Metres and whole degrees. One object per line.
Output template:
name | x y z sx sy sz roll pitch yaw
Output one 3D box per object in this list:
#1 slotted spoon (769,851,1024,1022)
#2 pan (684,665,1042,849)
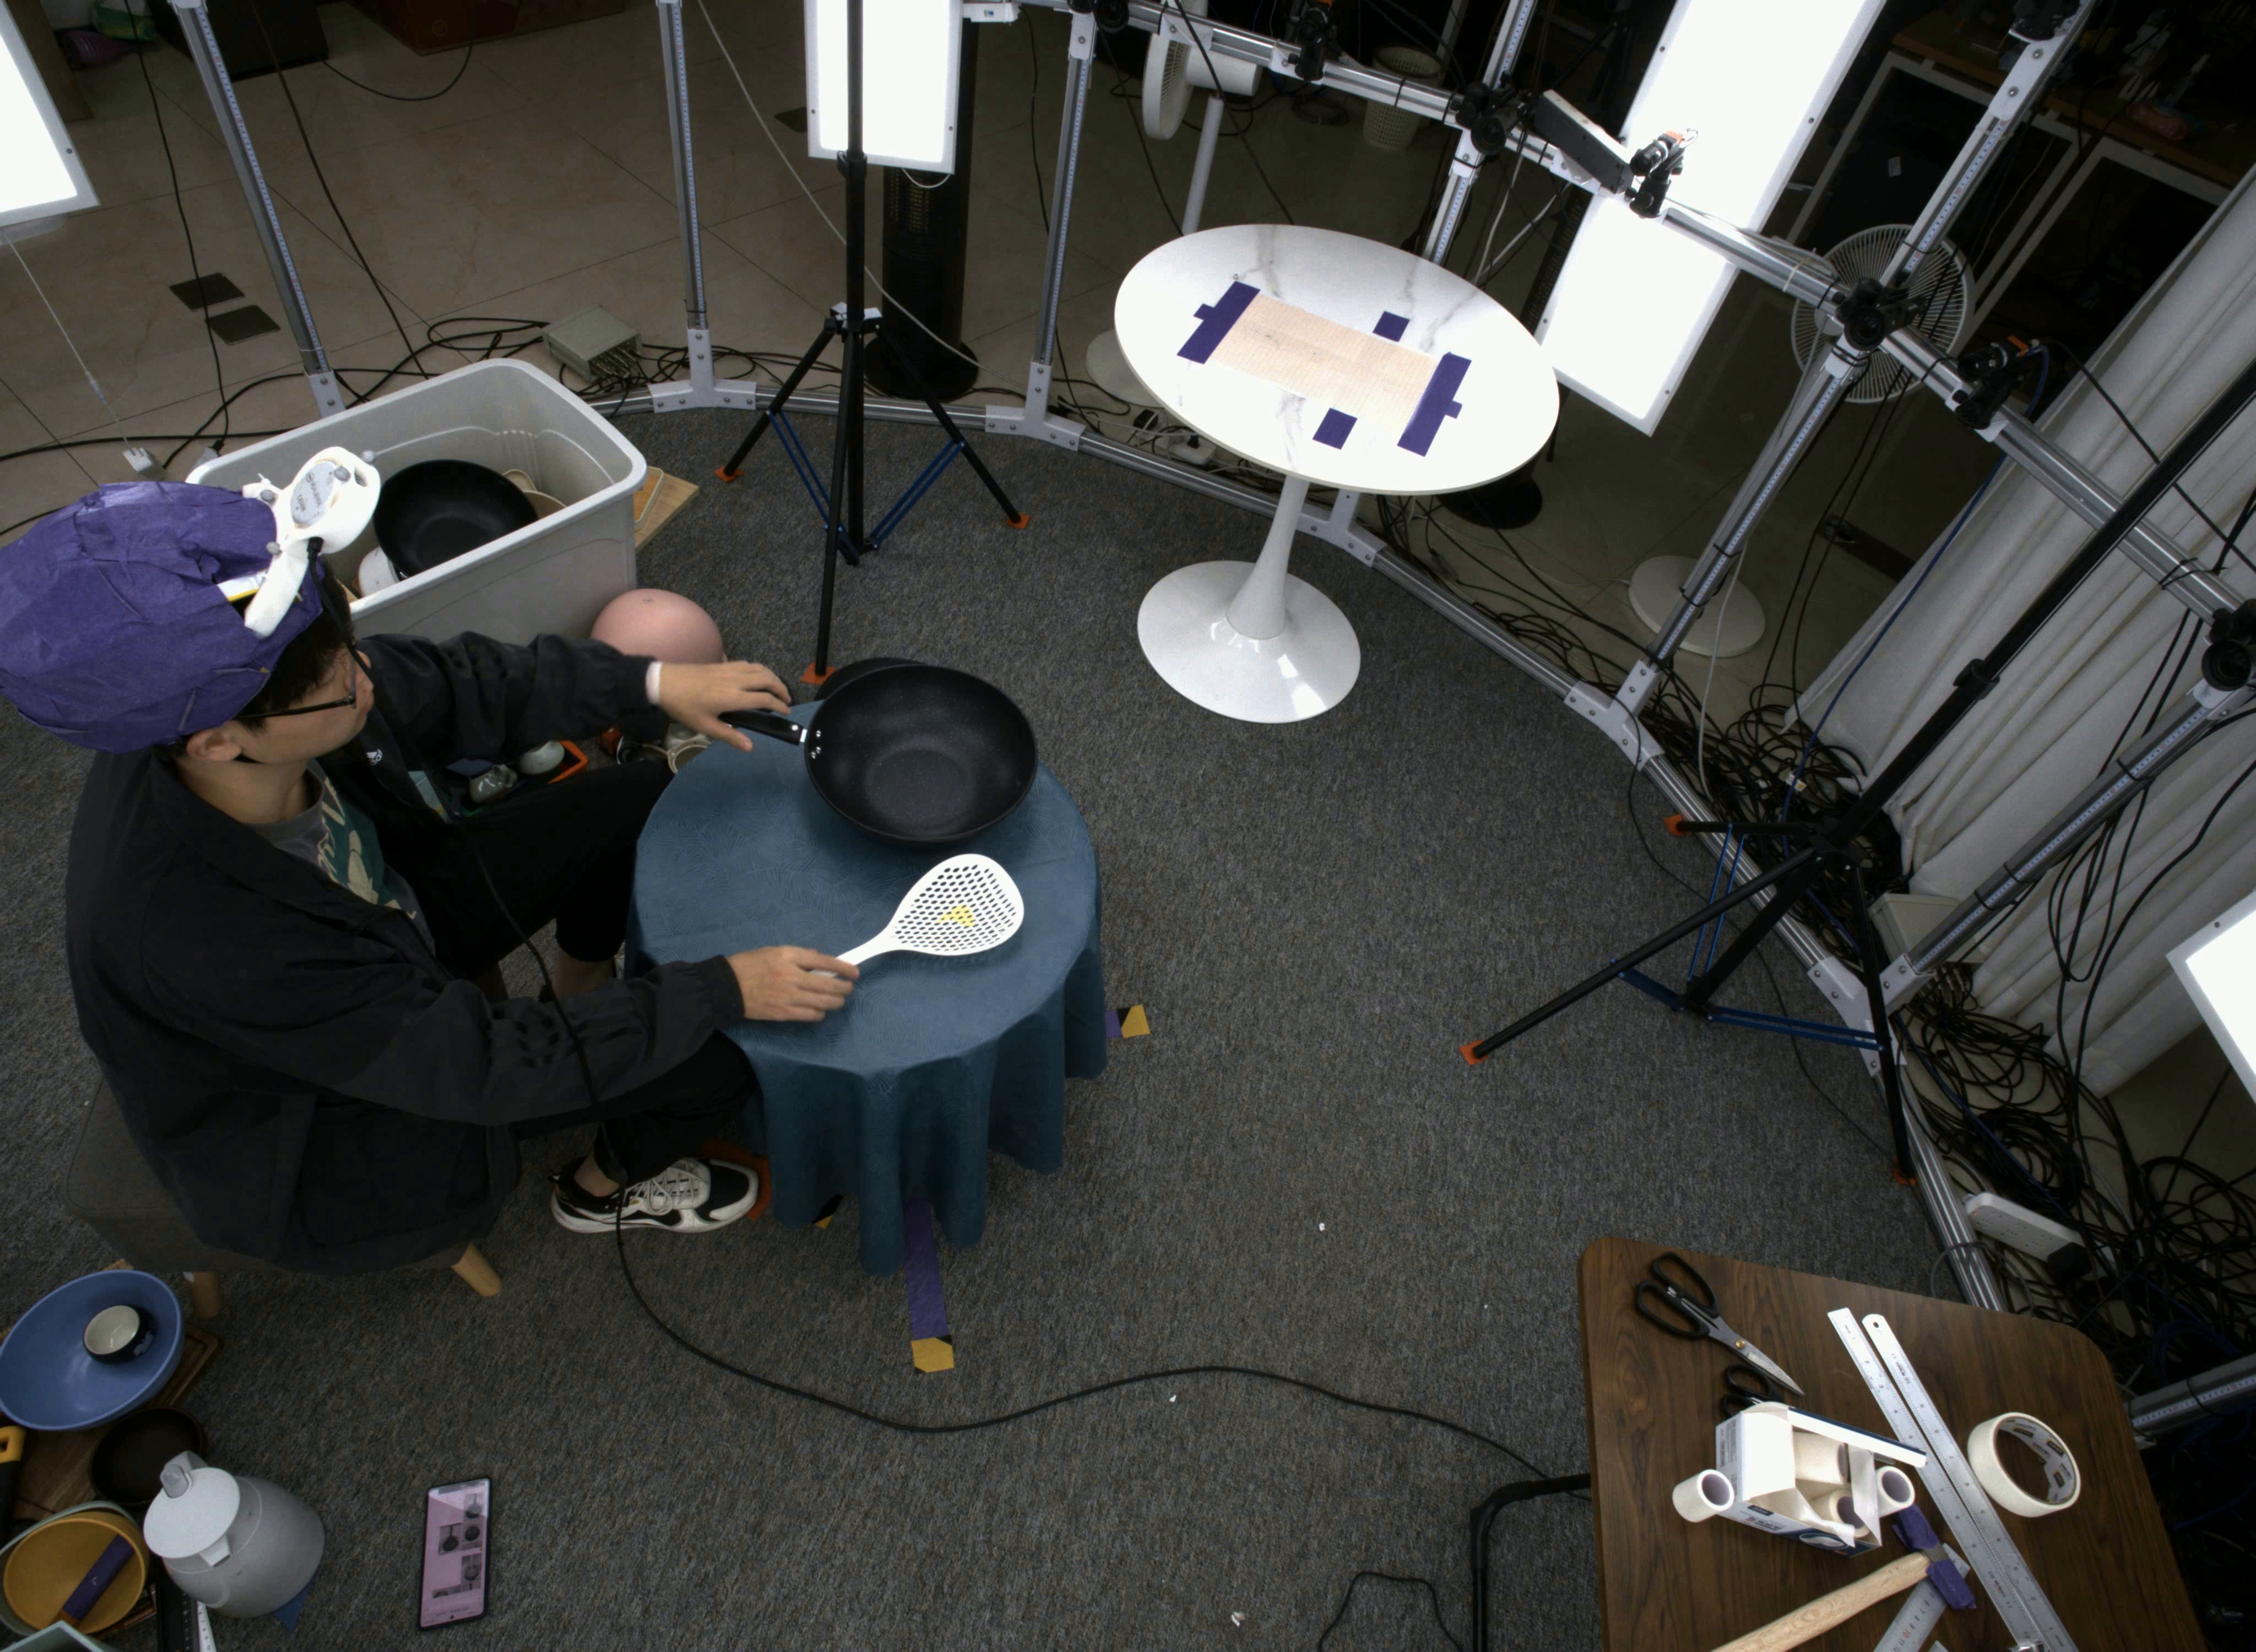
slotted spoon | -0.292 0.144 1.624 0.349 0.051 0.134 -26 71 -28
pan | -0.354 -0.098 1.747 0.476 0.114 0.304 8 51 -9
